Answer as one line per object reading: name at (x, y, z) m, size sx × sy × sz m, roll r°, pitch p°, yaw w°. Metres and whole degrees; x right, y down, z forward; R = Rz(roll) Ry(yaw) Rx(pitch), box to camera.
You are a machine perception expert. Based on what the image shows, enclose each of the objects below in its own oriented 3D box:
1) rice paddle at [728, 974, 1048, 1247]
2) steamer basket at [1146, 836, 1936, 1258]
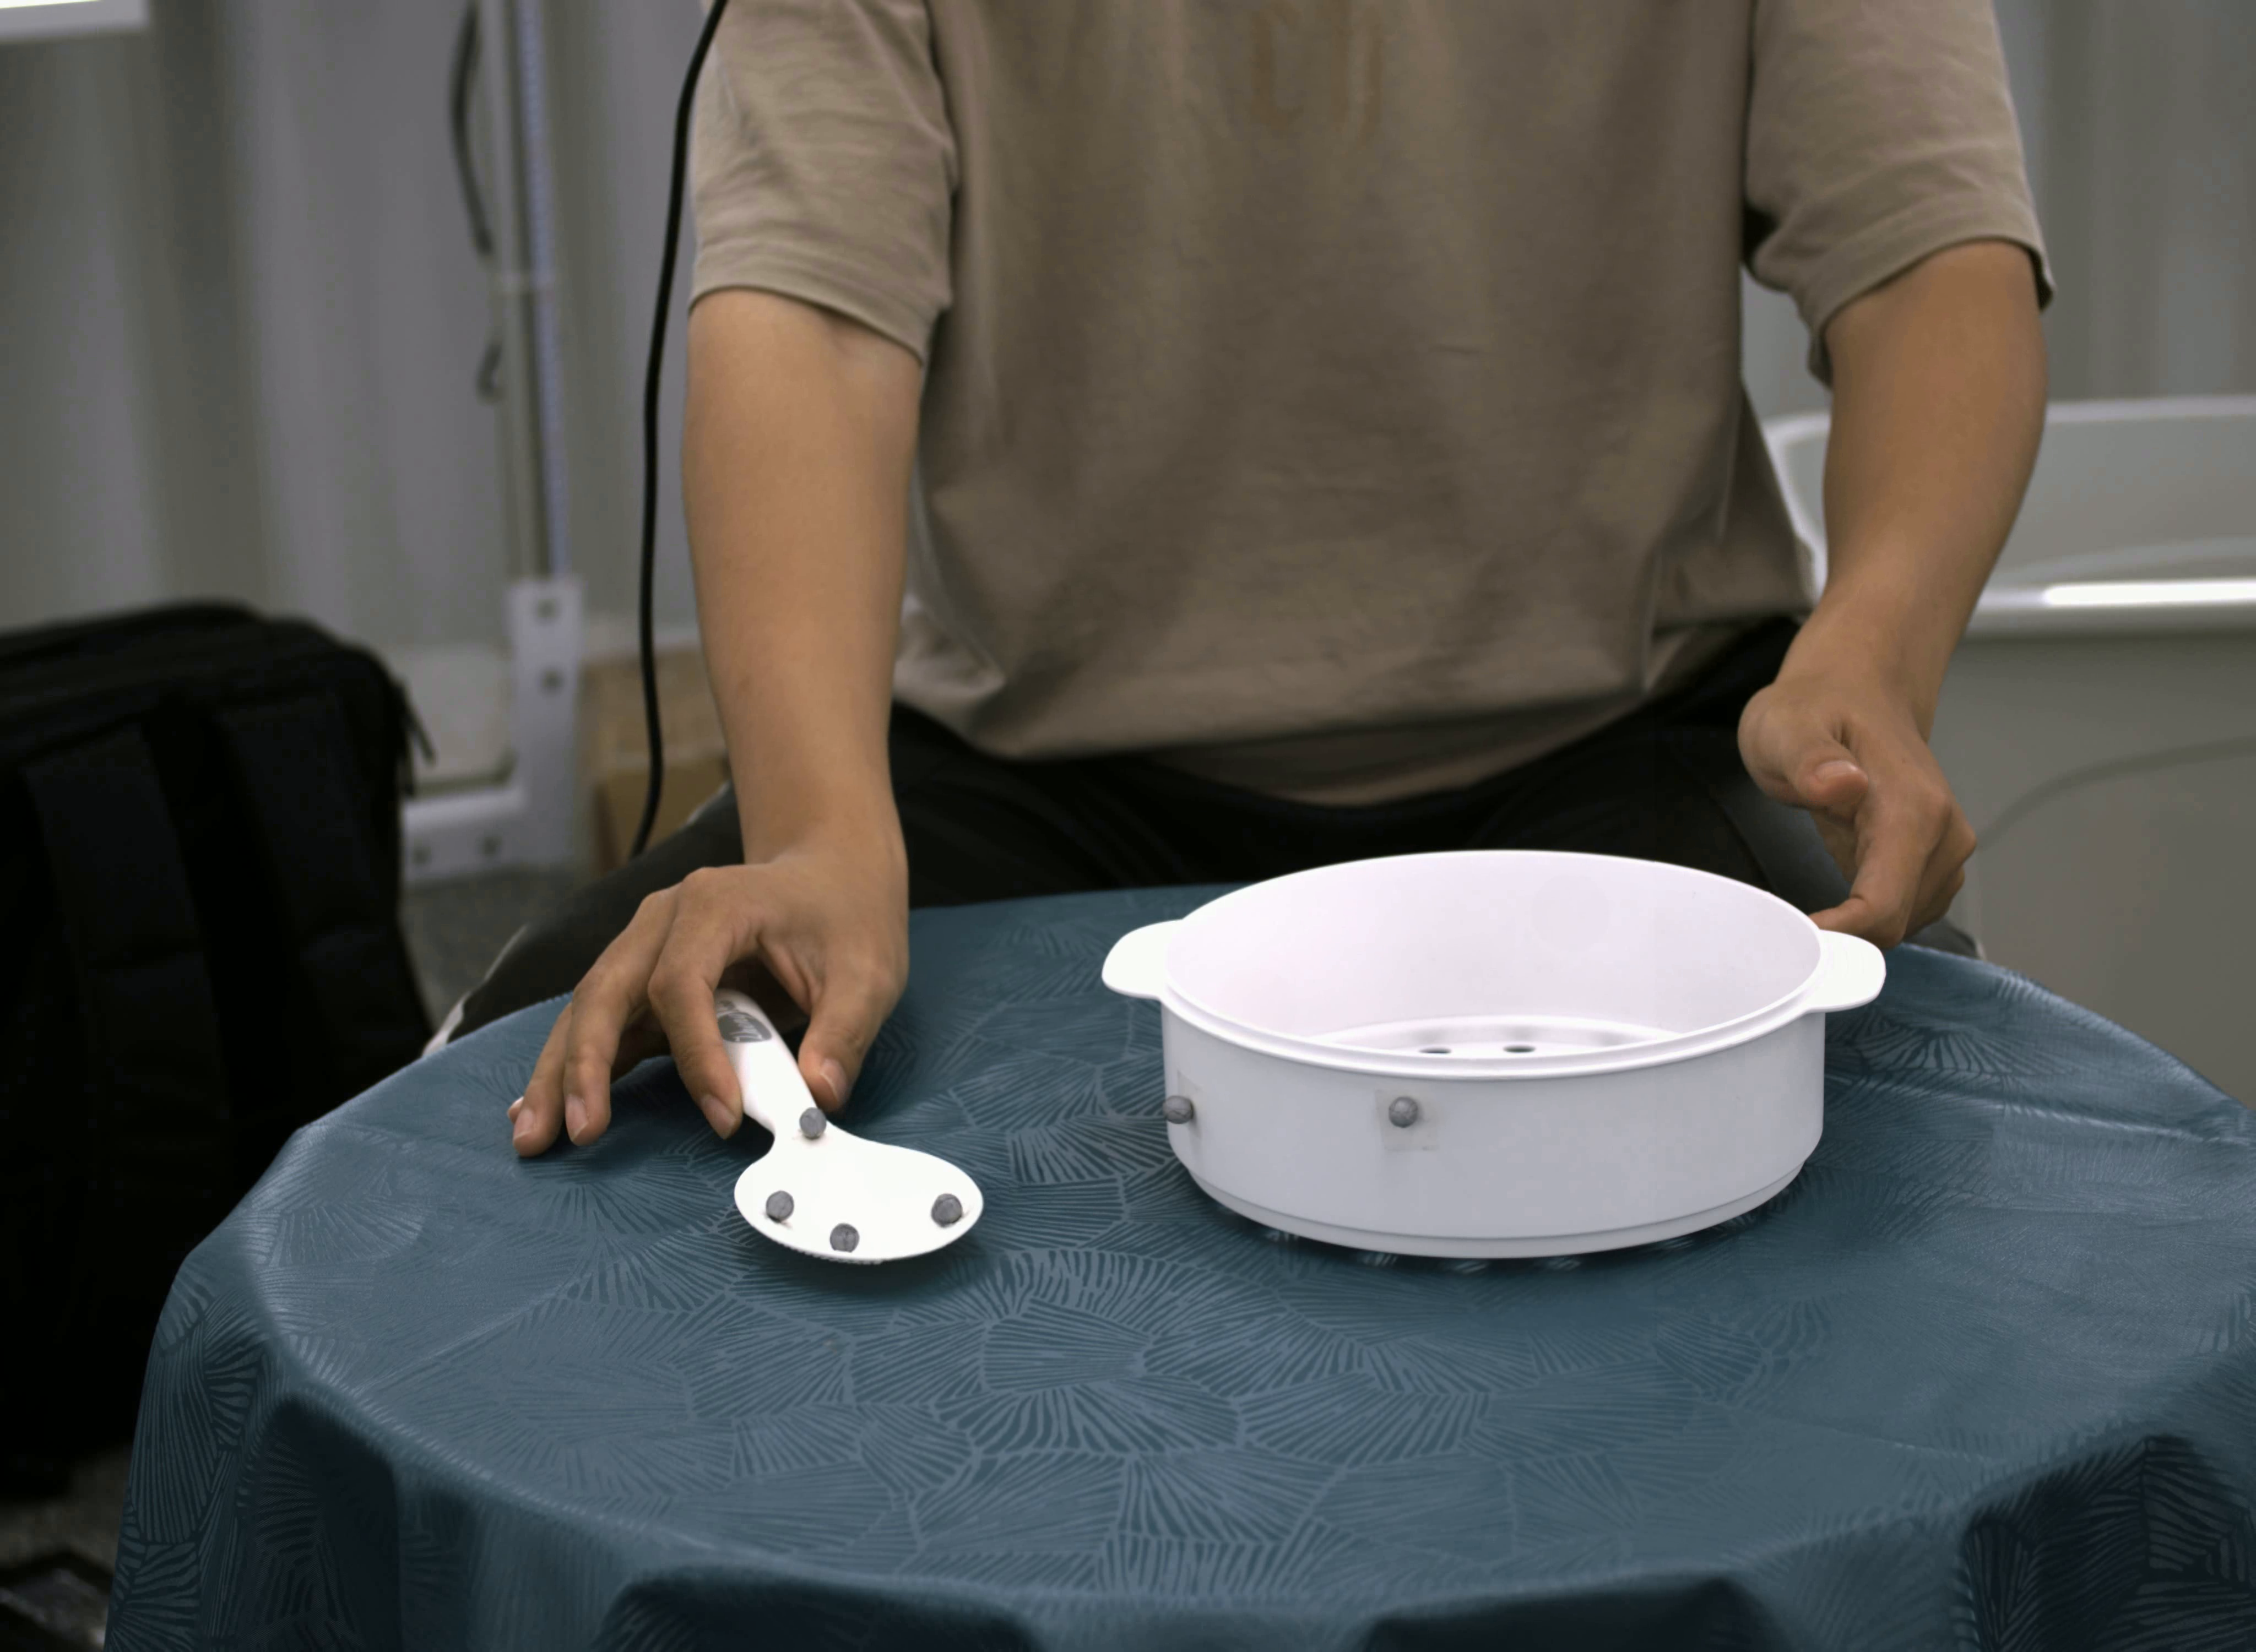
rice paddle at (-0.077, 0.086, 1.574) m, size 0.067 × 0.029 × 0.209 m, roll -9°, pitch 17°, yaw -17°
steamer basket at (0.120, 0.065, 1.557) m, size 0.231 × 0.069 × 0.201 m, roll 2°, pitch 18°, yaw 11°
